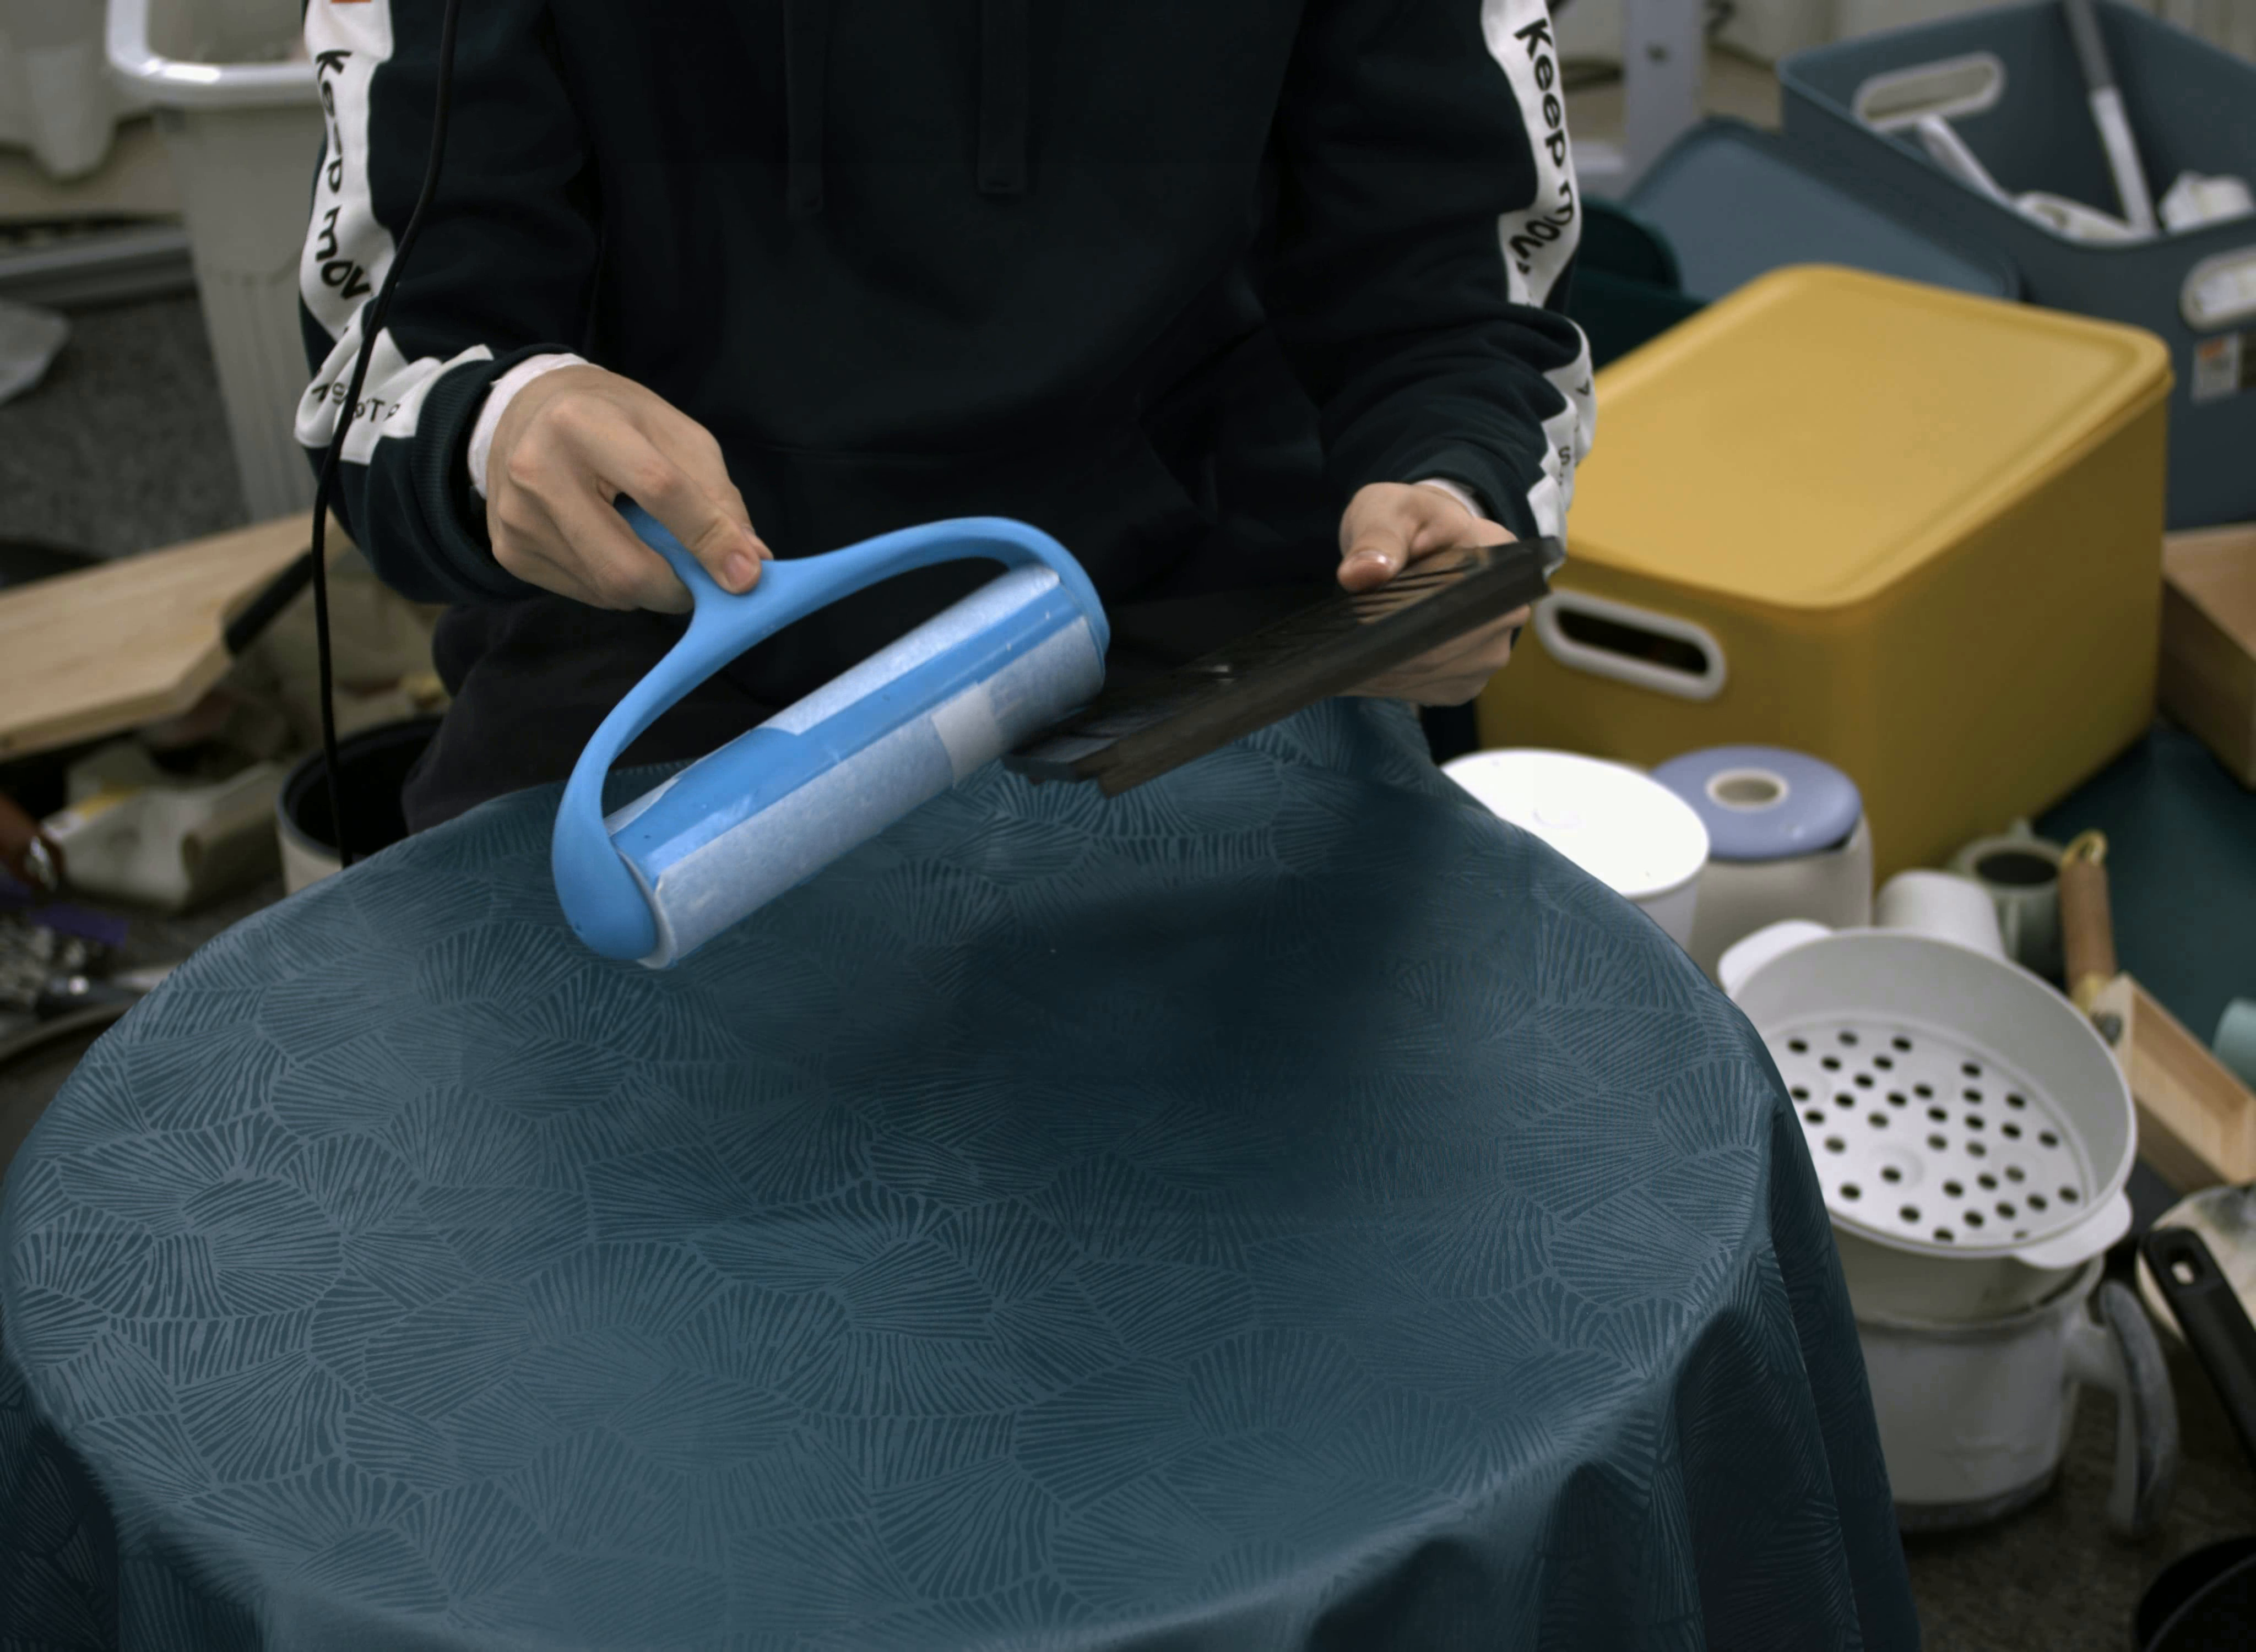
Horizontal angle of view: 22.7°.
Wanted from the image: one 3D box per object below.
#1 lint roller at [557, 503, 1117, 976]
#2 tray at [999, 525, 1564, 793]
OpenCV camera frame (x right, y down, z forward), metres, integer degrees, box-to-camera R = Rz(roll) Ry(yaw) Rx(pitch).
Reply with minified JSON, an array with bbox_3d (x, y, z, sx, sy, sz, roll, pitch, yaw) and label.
[{"bbox_3d":[-0.134,-0.060,1.920,0.232,0.067,0.181,-35,68,-28],"label":"lint roller"},{"bbox_3d":[0.046,-0.052,1.885,0.170,0.018,0.305,-26,3,-5],"label":"tray"}]
